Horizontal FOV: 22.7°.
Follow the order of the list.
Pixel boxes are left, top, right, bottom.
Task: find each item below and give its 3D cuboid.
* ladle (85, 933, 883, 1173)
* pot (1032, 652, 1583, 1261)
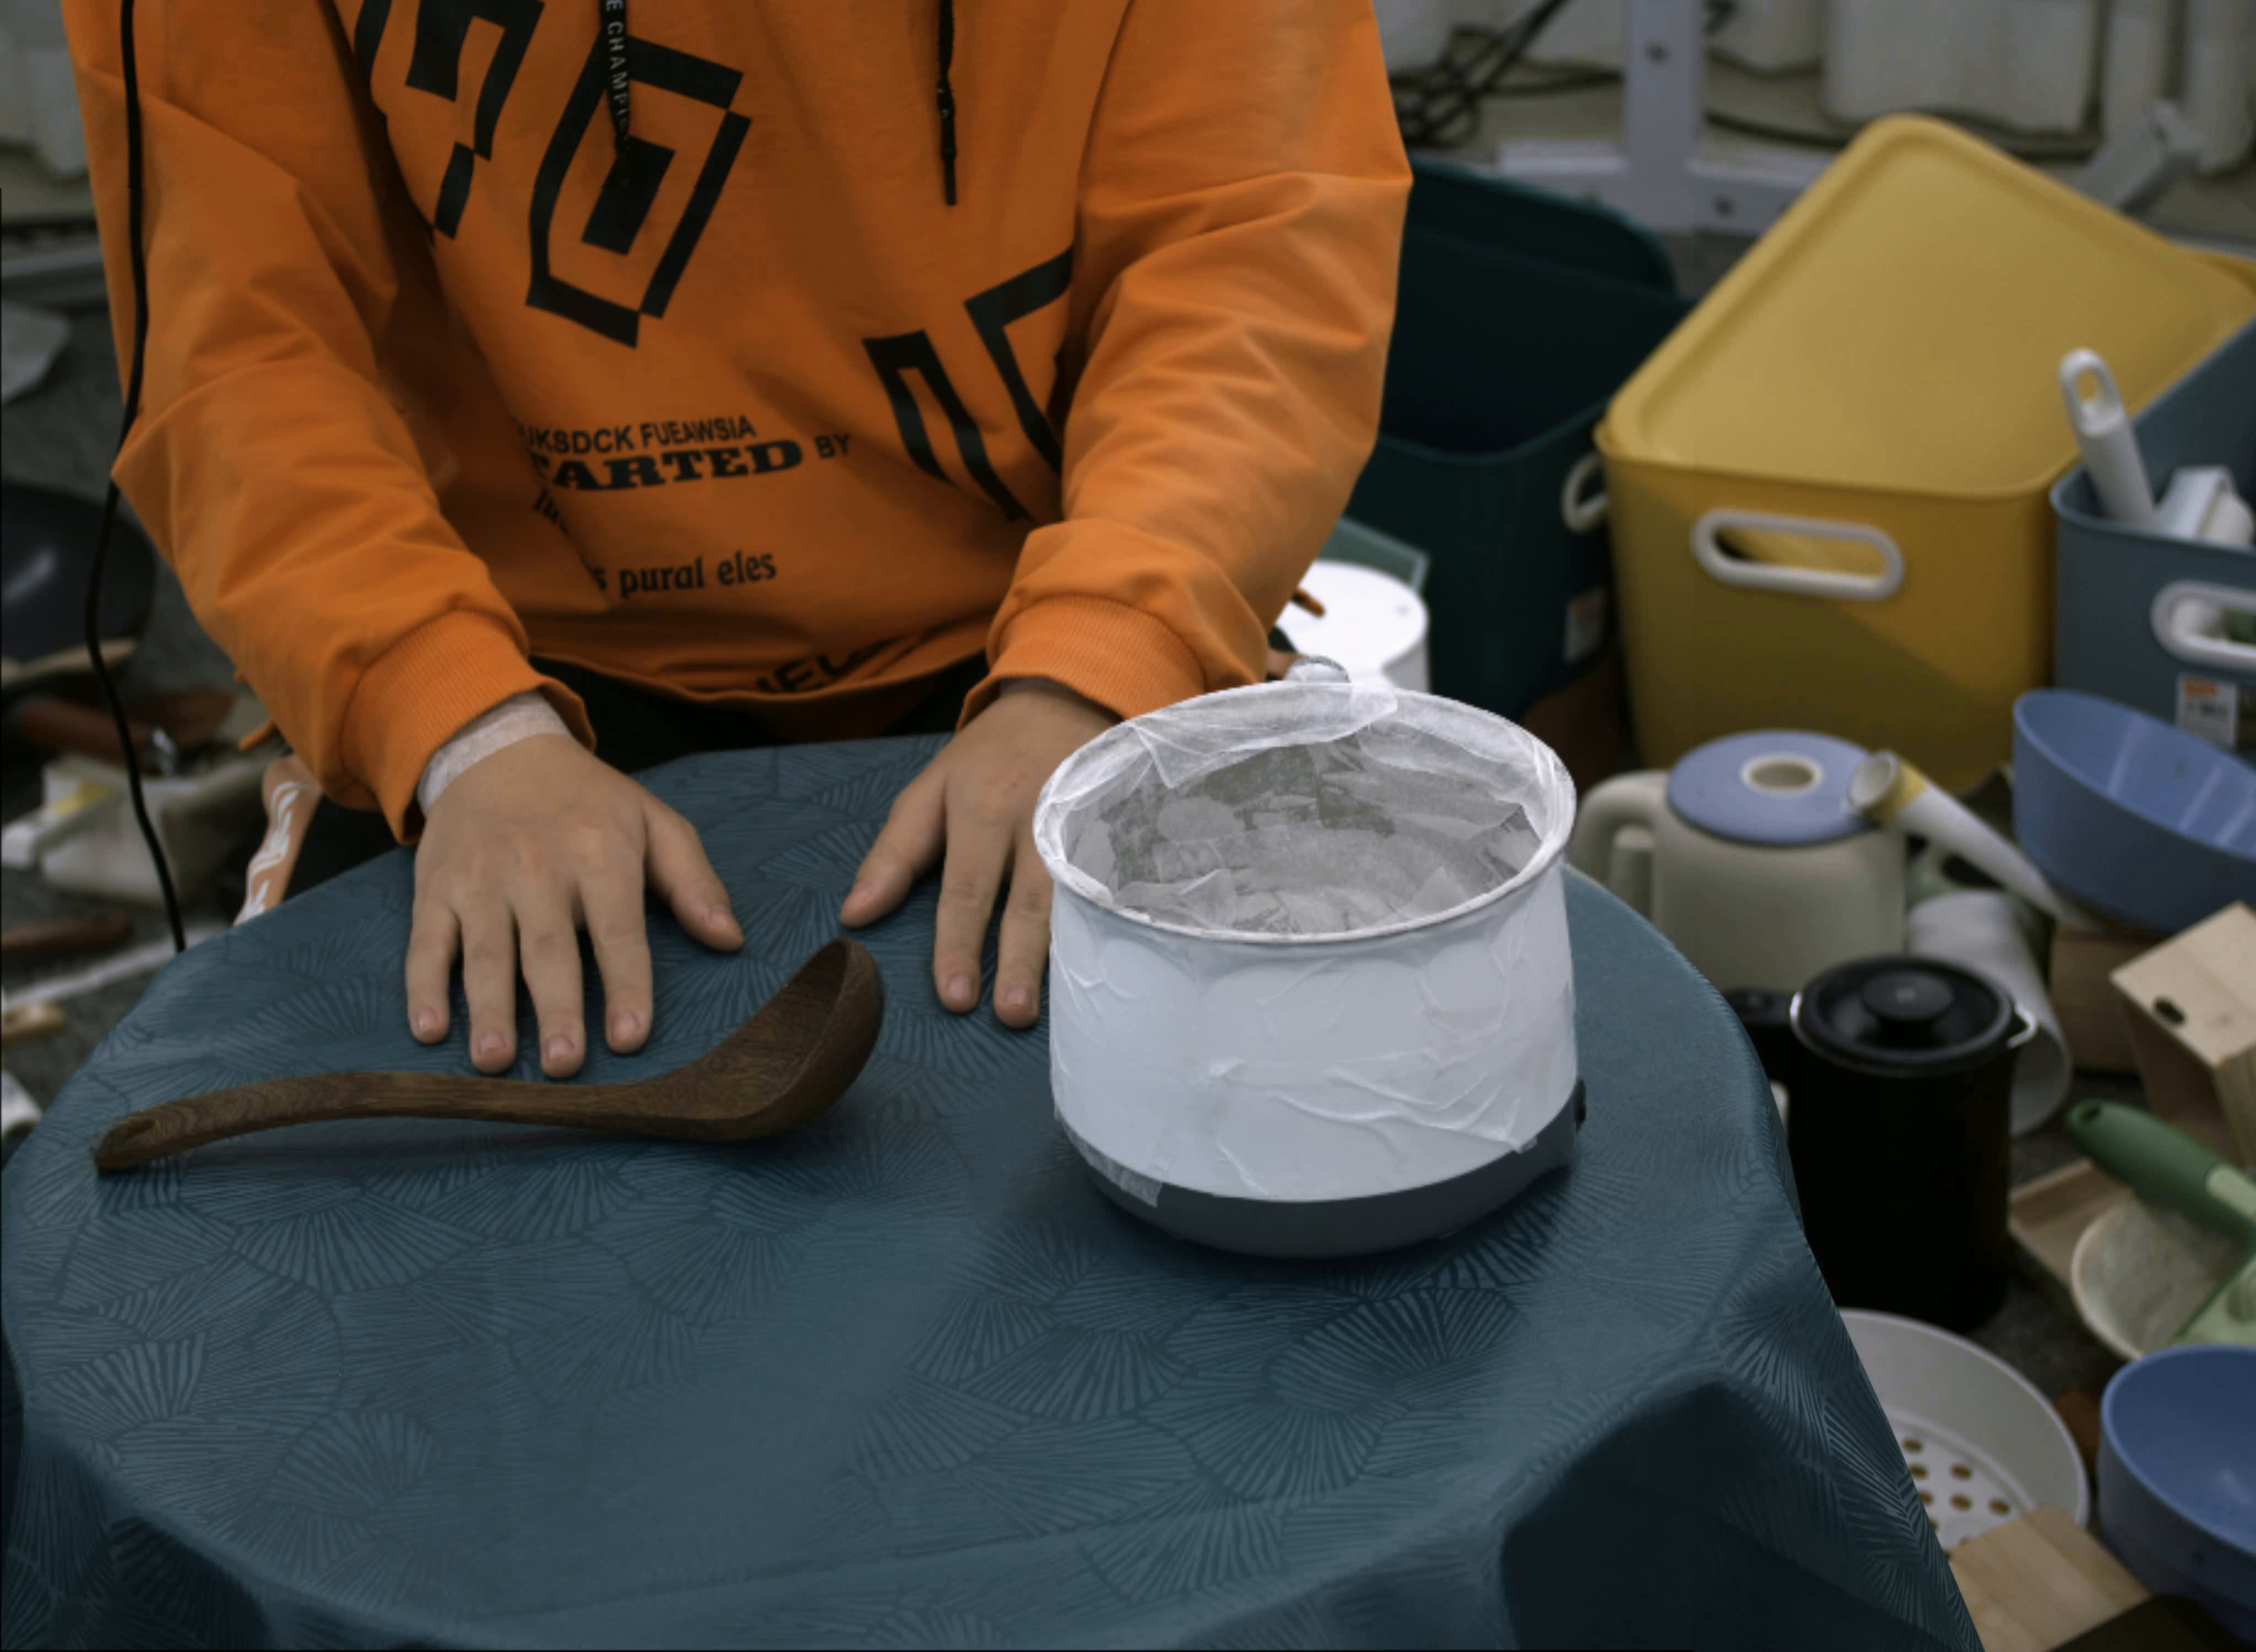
[{"bbox_3d":[-0.218,0.078,1.894,0.273,0.070,0.077,-3,25,-1],"label":"ladle"},{"bbox_3d":[0.061,0.036,1.874,0.178,0.135,0.237,-1,27,3],"label":"pot"}]
